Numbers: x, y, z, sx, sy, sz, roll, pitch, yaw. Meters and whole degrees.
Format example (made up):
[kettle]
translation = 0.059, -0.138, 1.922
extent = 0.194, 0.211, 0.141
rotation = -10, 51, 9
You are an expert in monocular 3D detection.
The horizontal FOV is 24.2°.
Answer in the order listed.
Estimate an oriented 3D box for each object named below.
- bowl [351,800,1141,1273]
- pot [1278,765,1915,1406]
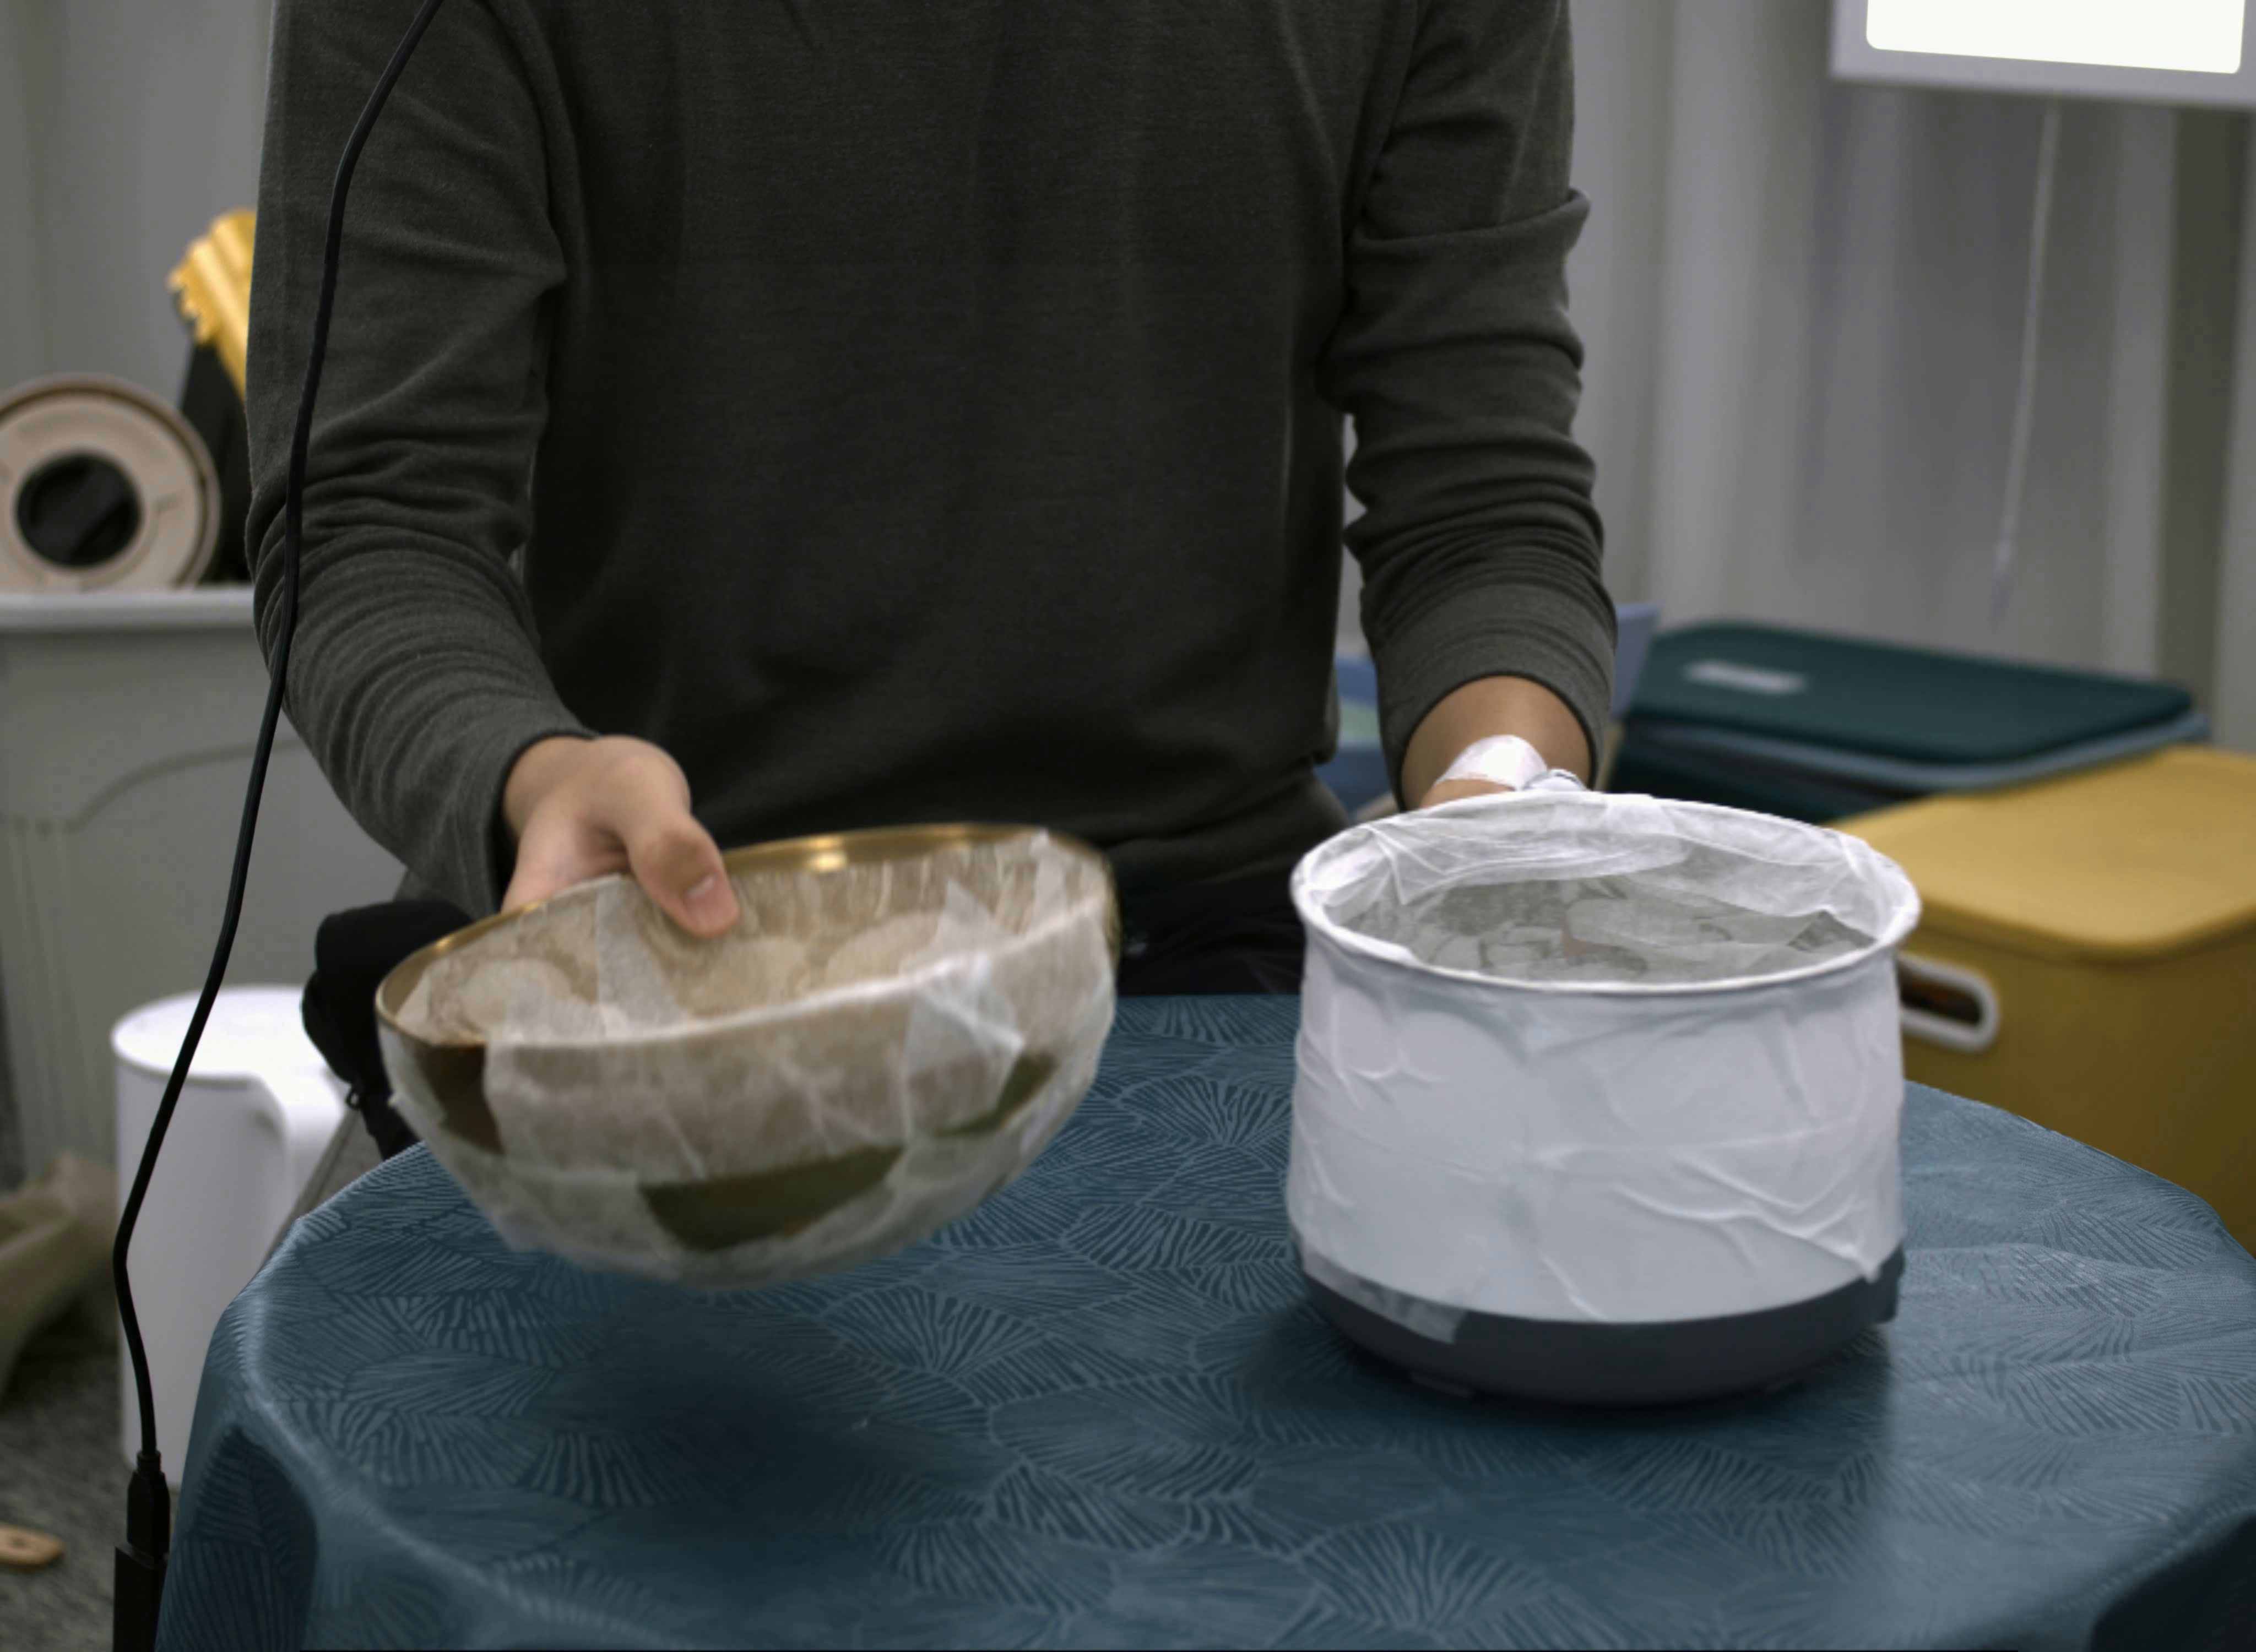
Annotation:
[bowl]
translation = -0.093, 0.062, 1.395
extent = 0.214, 0.095, 0.214
rotation = -12, 11, 3
[pot]
translation = 0.129, 0.068, 1.520
extent = 0.178, 0.138, 0.232
rotation = 0, 18, -5
